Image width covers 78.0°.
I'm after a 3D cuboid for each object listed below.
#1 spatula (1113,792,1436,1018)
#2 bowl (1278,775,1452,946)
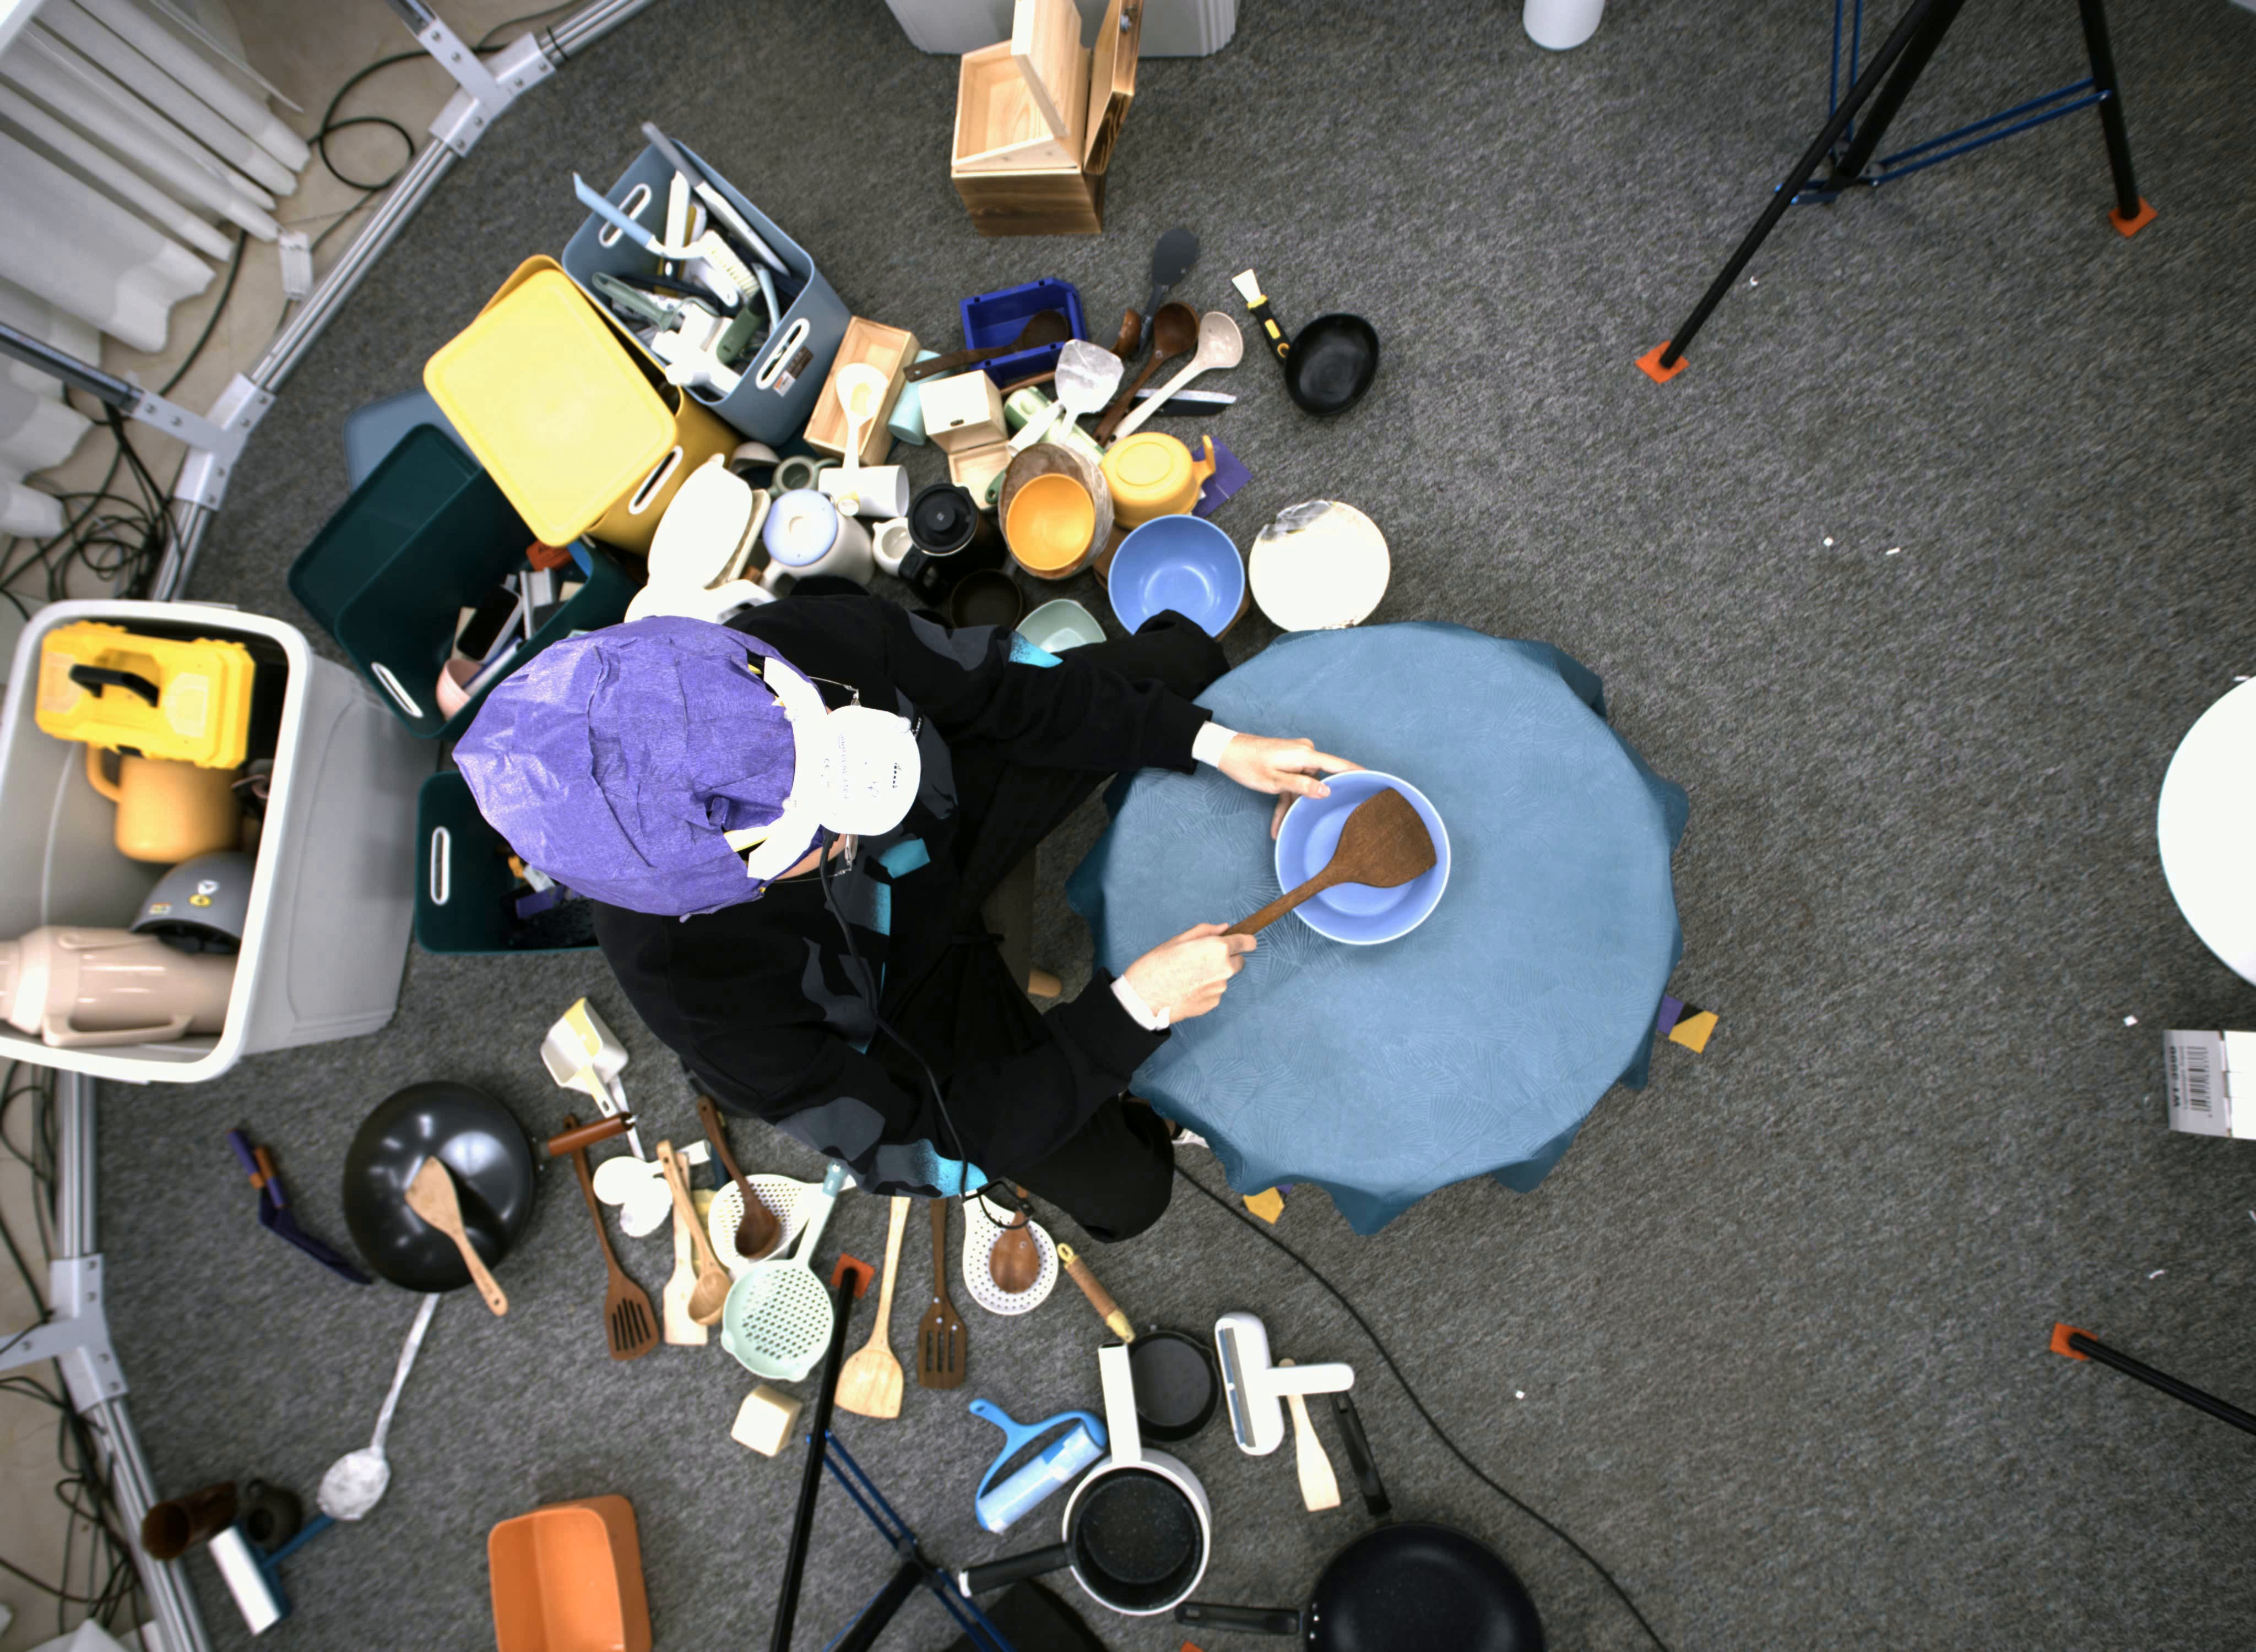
[{"bbox_3d":[0.145,0.084,1.356,0.381,0.016,0.096,-29,89,-20],"label":"spatula"},{"bbox_3d":[0.245,0.036,1.431,0.177,0.070,0.175,-1,87,10],"label":"bowl"}]
